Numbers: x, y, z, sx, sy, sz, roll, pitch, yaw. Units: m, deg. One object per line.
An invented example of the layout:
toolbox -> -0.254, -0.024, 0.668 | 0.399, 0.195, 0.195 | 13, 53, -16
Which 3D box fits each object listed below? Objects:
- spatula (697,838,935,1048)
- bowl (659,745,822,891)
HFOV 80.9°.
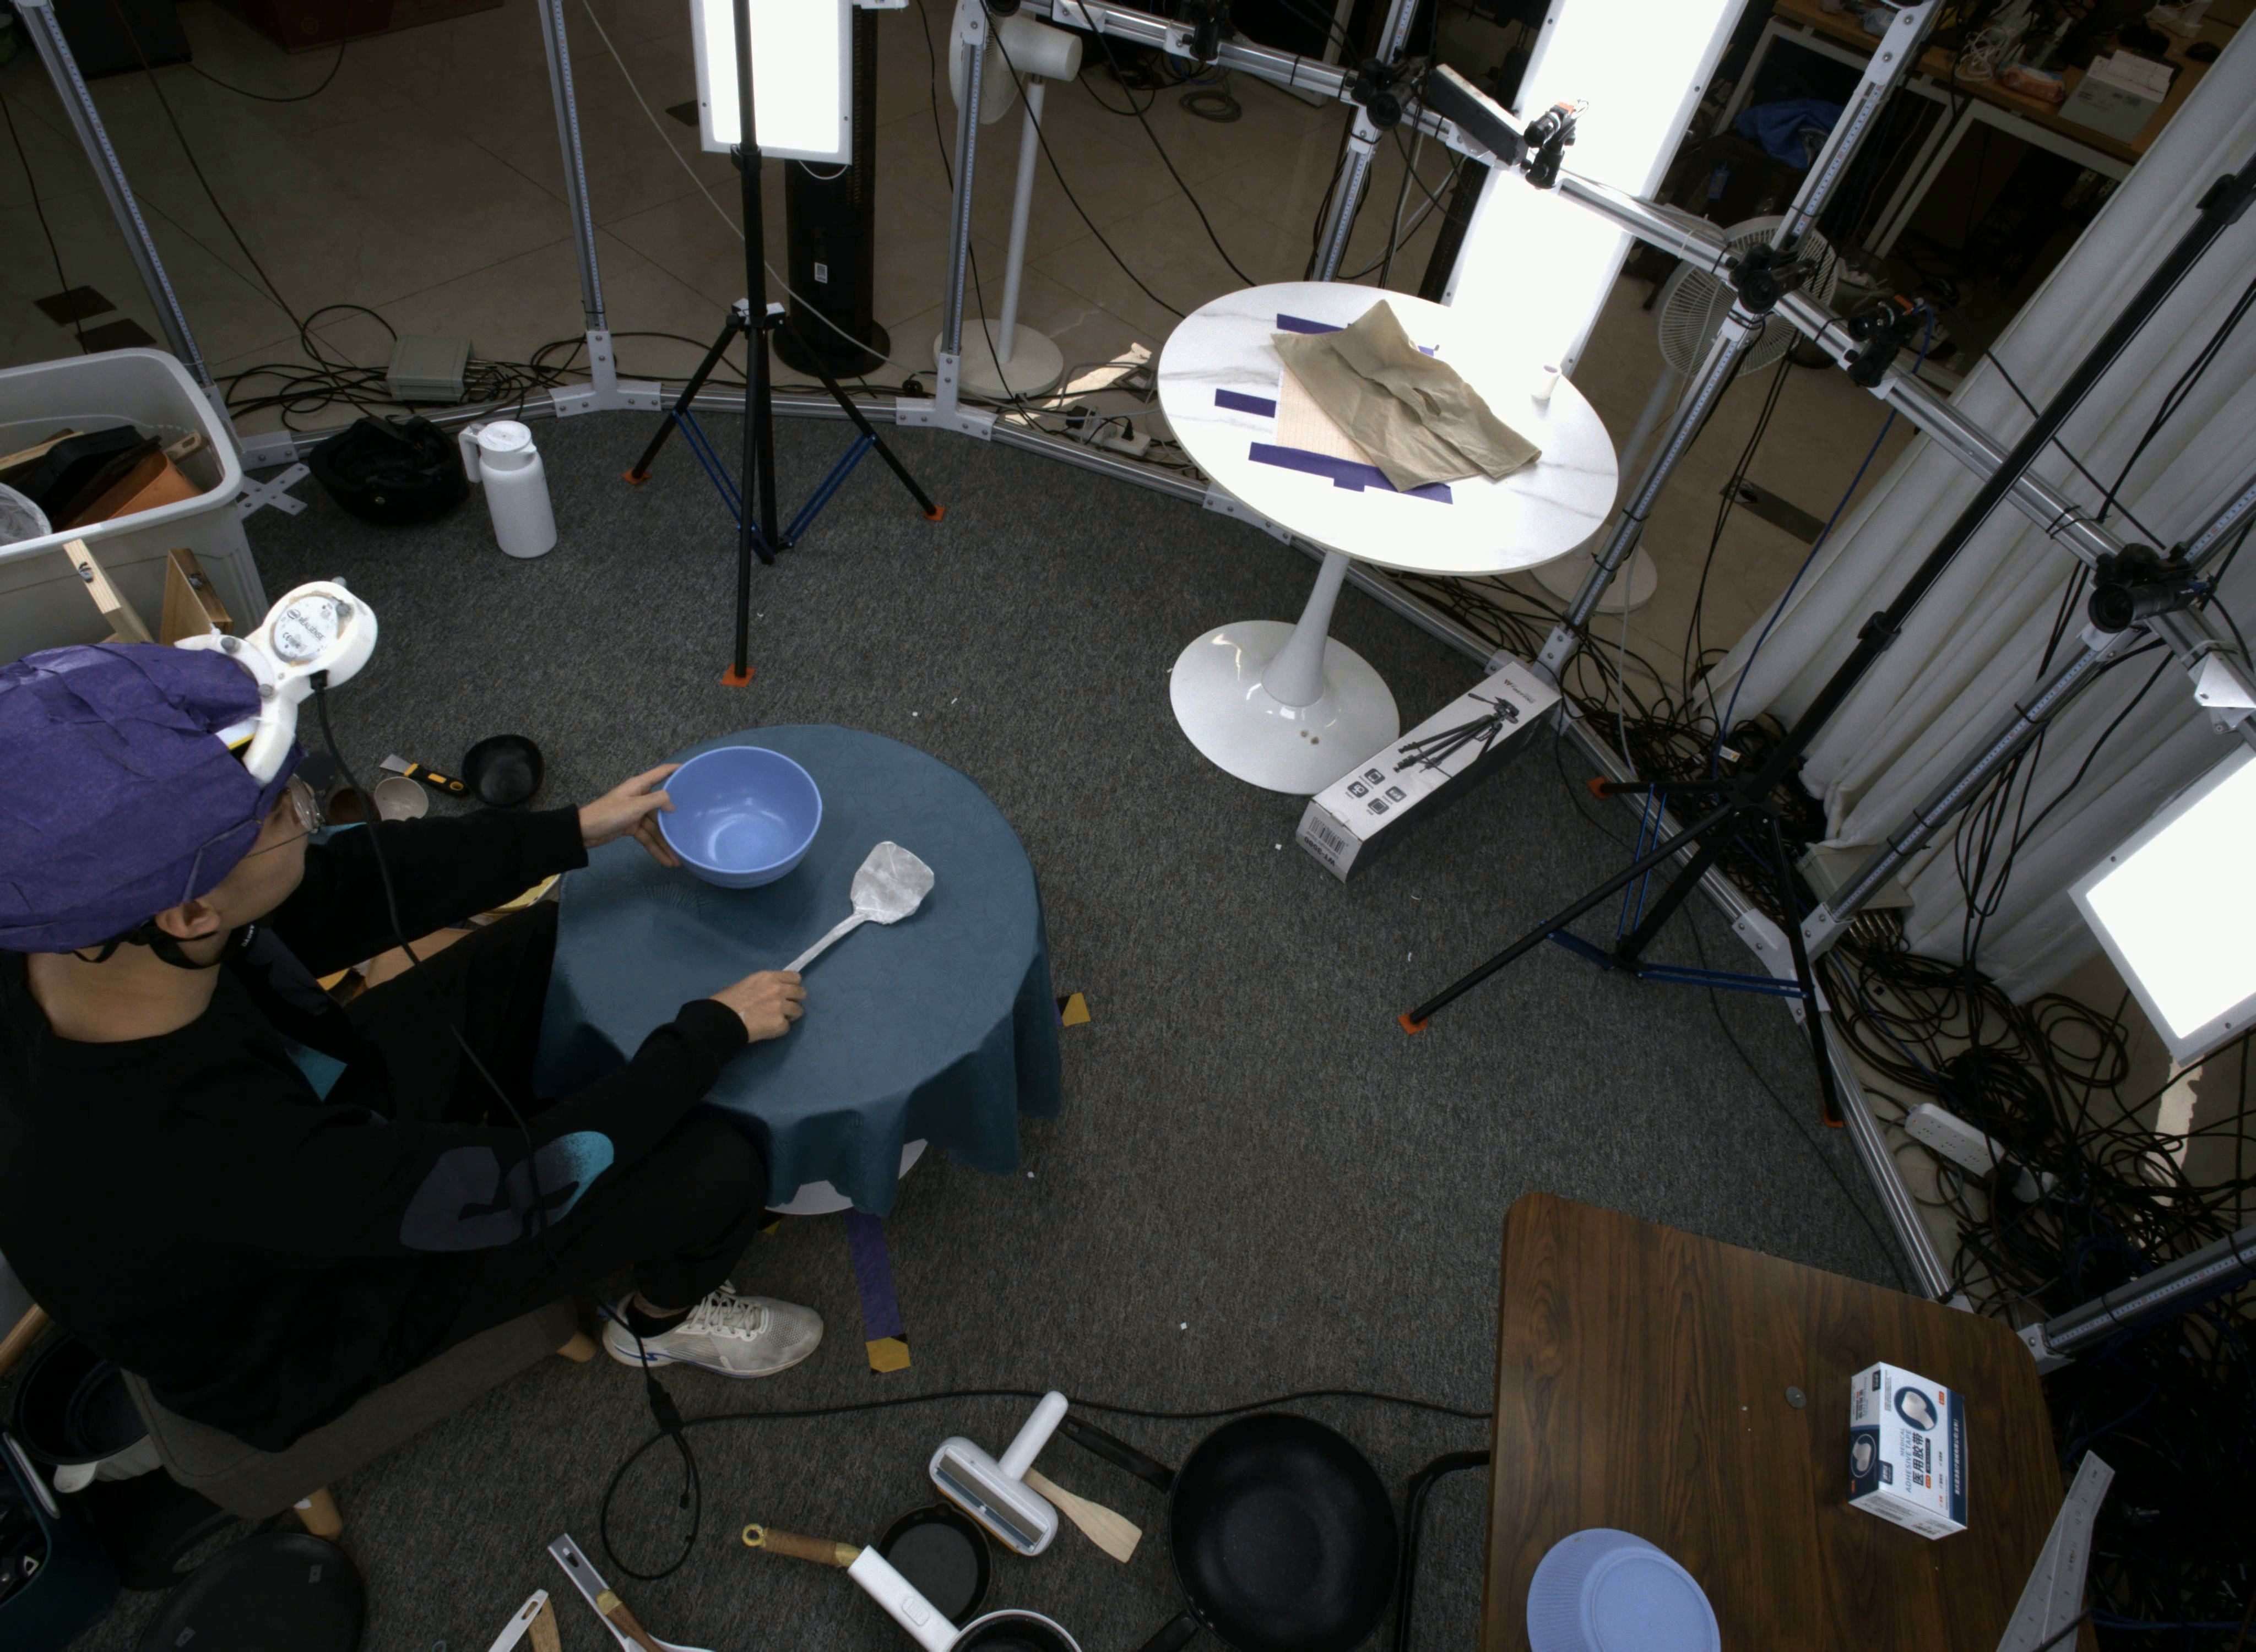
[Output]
spatula -> -0.388, 0.147, 1.603 | 0.097, 0.045, 0.365 | 38, 54, 12
bowl -> -0.484, 0.004, 1.624 | 0.196, 0.097, 0.193 | 8, 56, -10
